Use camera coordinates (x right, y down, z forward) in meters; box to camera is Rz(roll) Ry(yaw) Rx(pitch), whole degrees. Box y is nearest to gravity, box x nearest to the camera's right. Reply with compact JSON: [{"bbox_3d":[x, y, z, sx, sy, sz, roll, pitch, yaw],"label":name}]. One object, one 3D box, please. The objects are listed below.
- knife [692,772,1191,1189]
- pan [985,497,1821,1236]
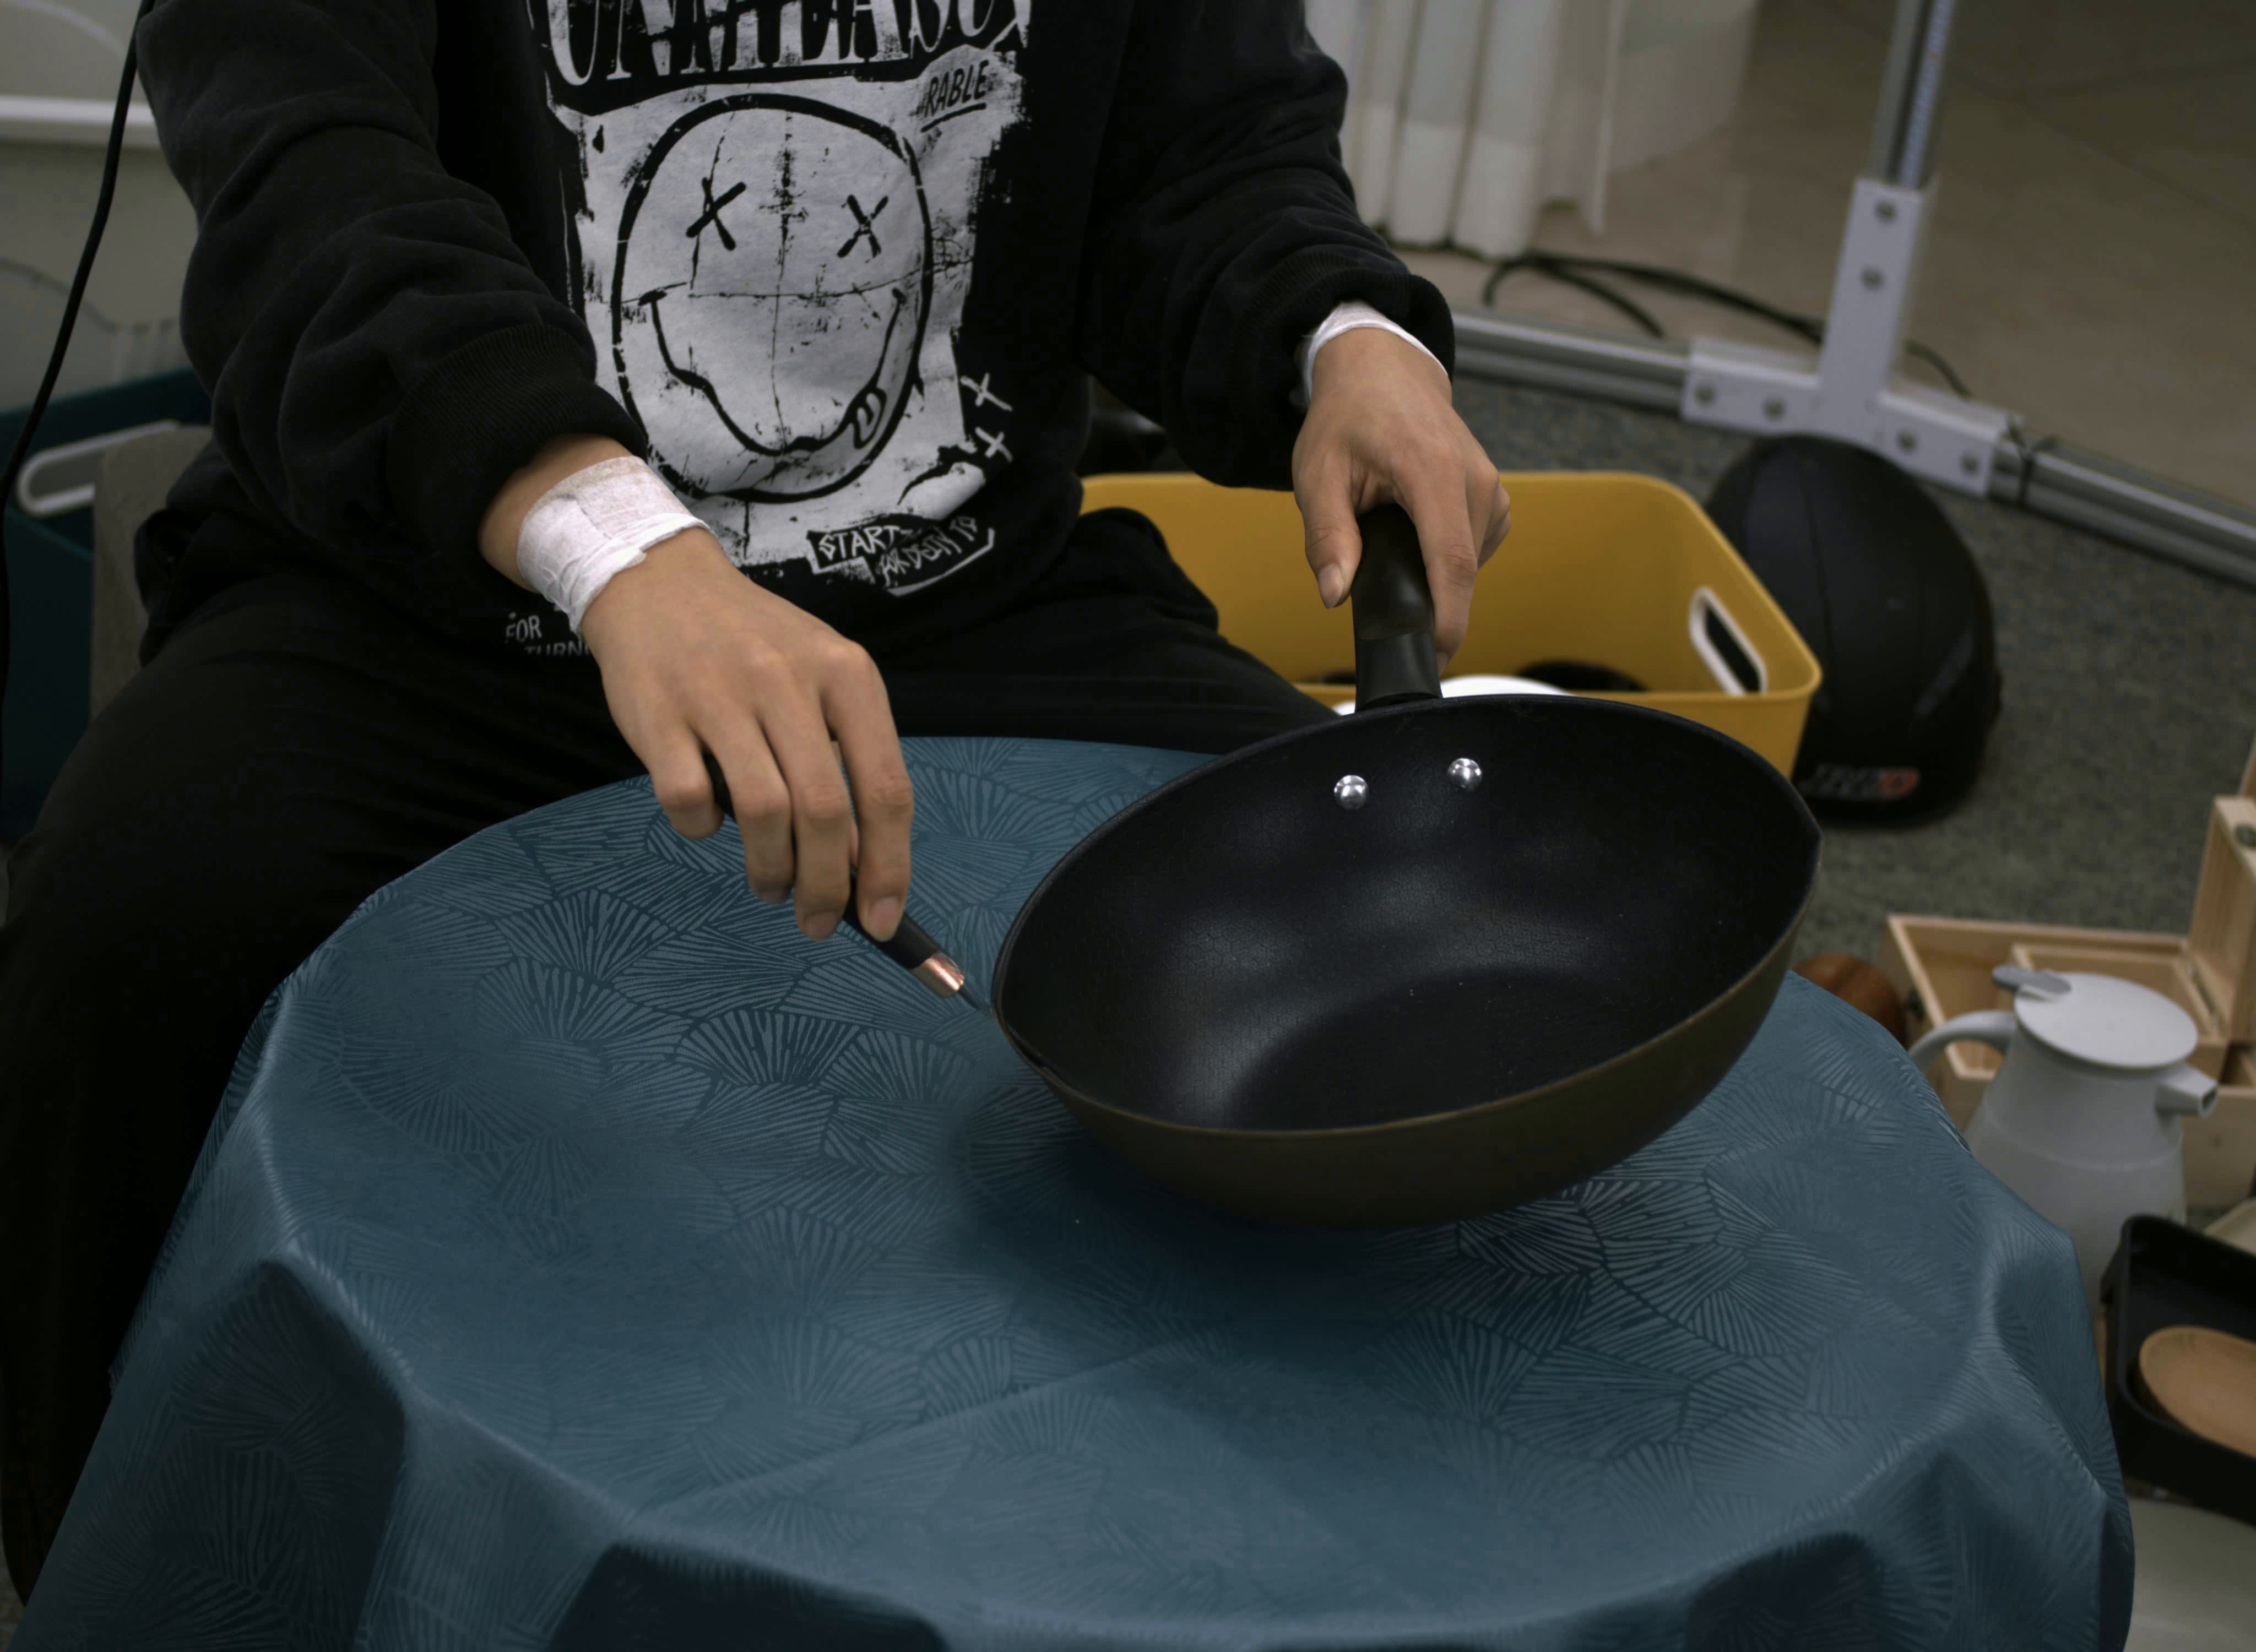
[{"bbox_3d":[-0.058,0.054,1.762,0.224,0.017,0.026,40,-11,-18],"label":"knife"},{"bbox_3d":[0.101,0.016,1.897,0.288,0.086,0.466,-10,28,8],"label":"pan"}]
